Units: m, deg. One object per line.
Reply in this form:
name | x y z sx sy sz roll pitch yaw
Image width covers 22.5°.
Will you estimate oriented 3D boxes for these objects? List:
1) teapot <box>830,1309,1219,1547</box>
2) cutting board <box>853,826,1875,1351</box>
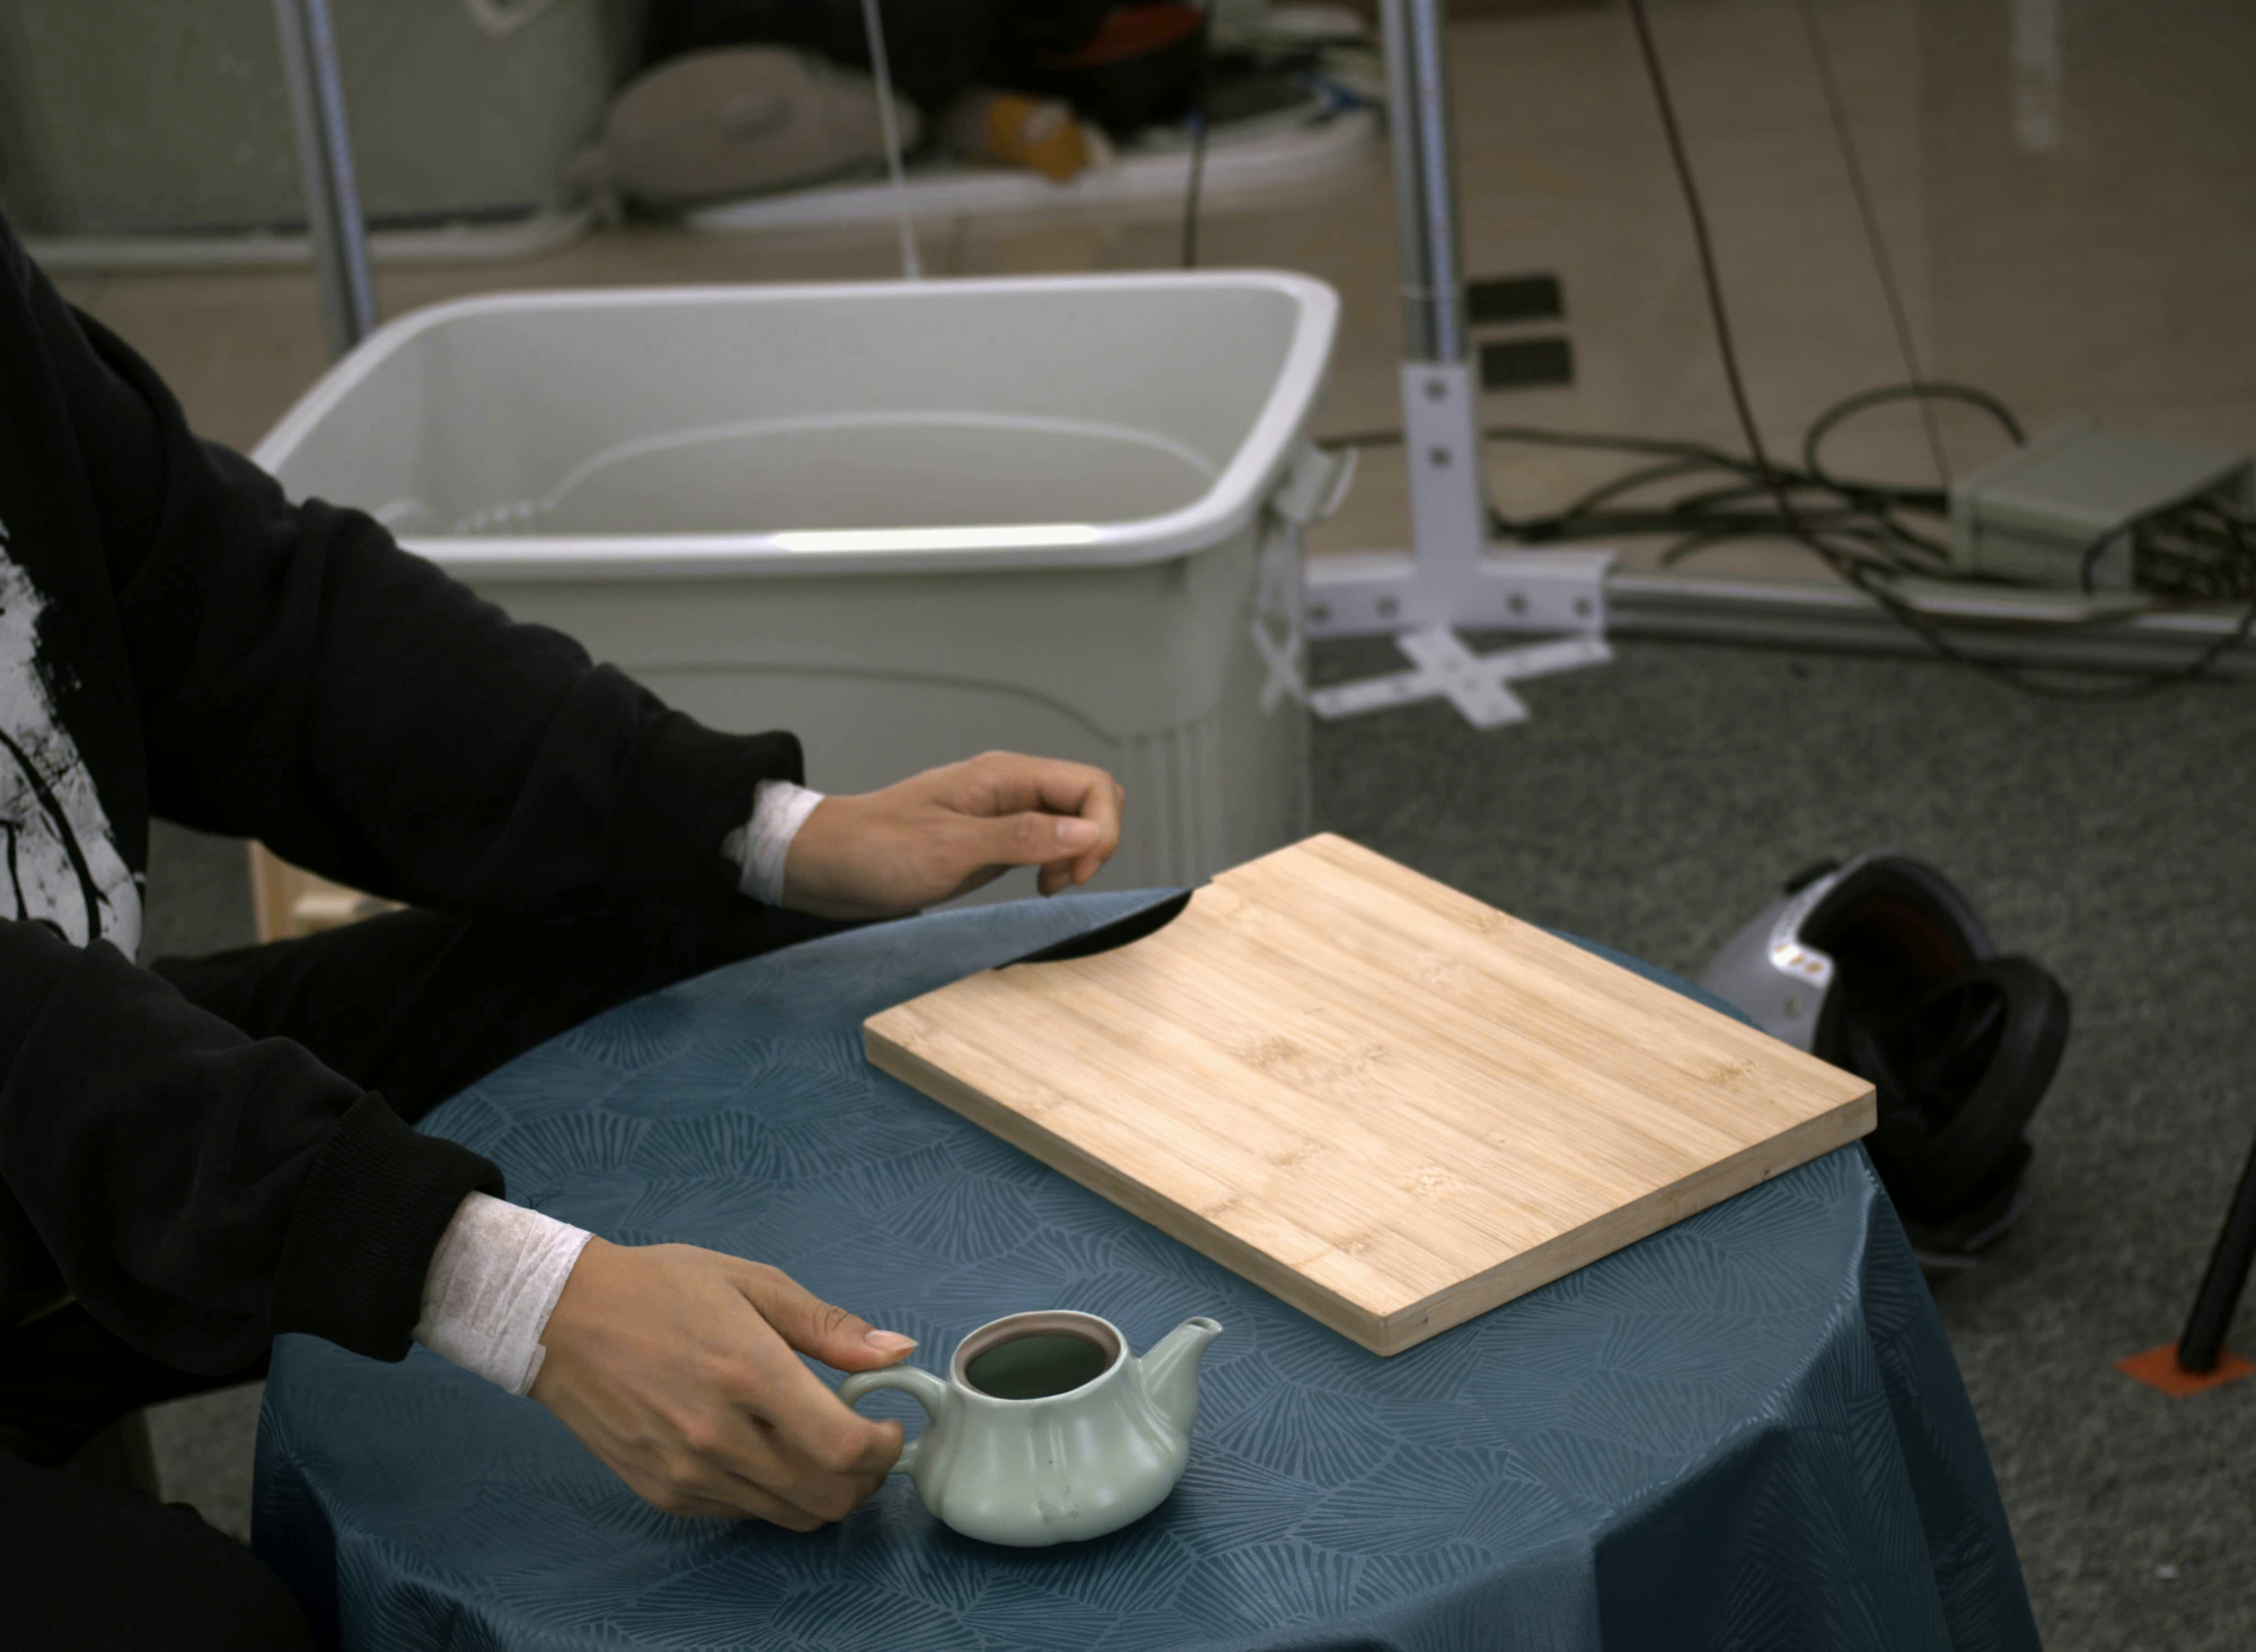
teapot | -0.033 0.205 1.945 0.136 0.062 0.095 -9 27 -6
cutting board | 0.085 0.095 2.204 0.249 0.024 0.345 -22 29 -31
